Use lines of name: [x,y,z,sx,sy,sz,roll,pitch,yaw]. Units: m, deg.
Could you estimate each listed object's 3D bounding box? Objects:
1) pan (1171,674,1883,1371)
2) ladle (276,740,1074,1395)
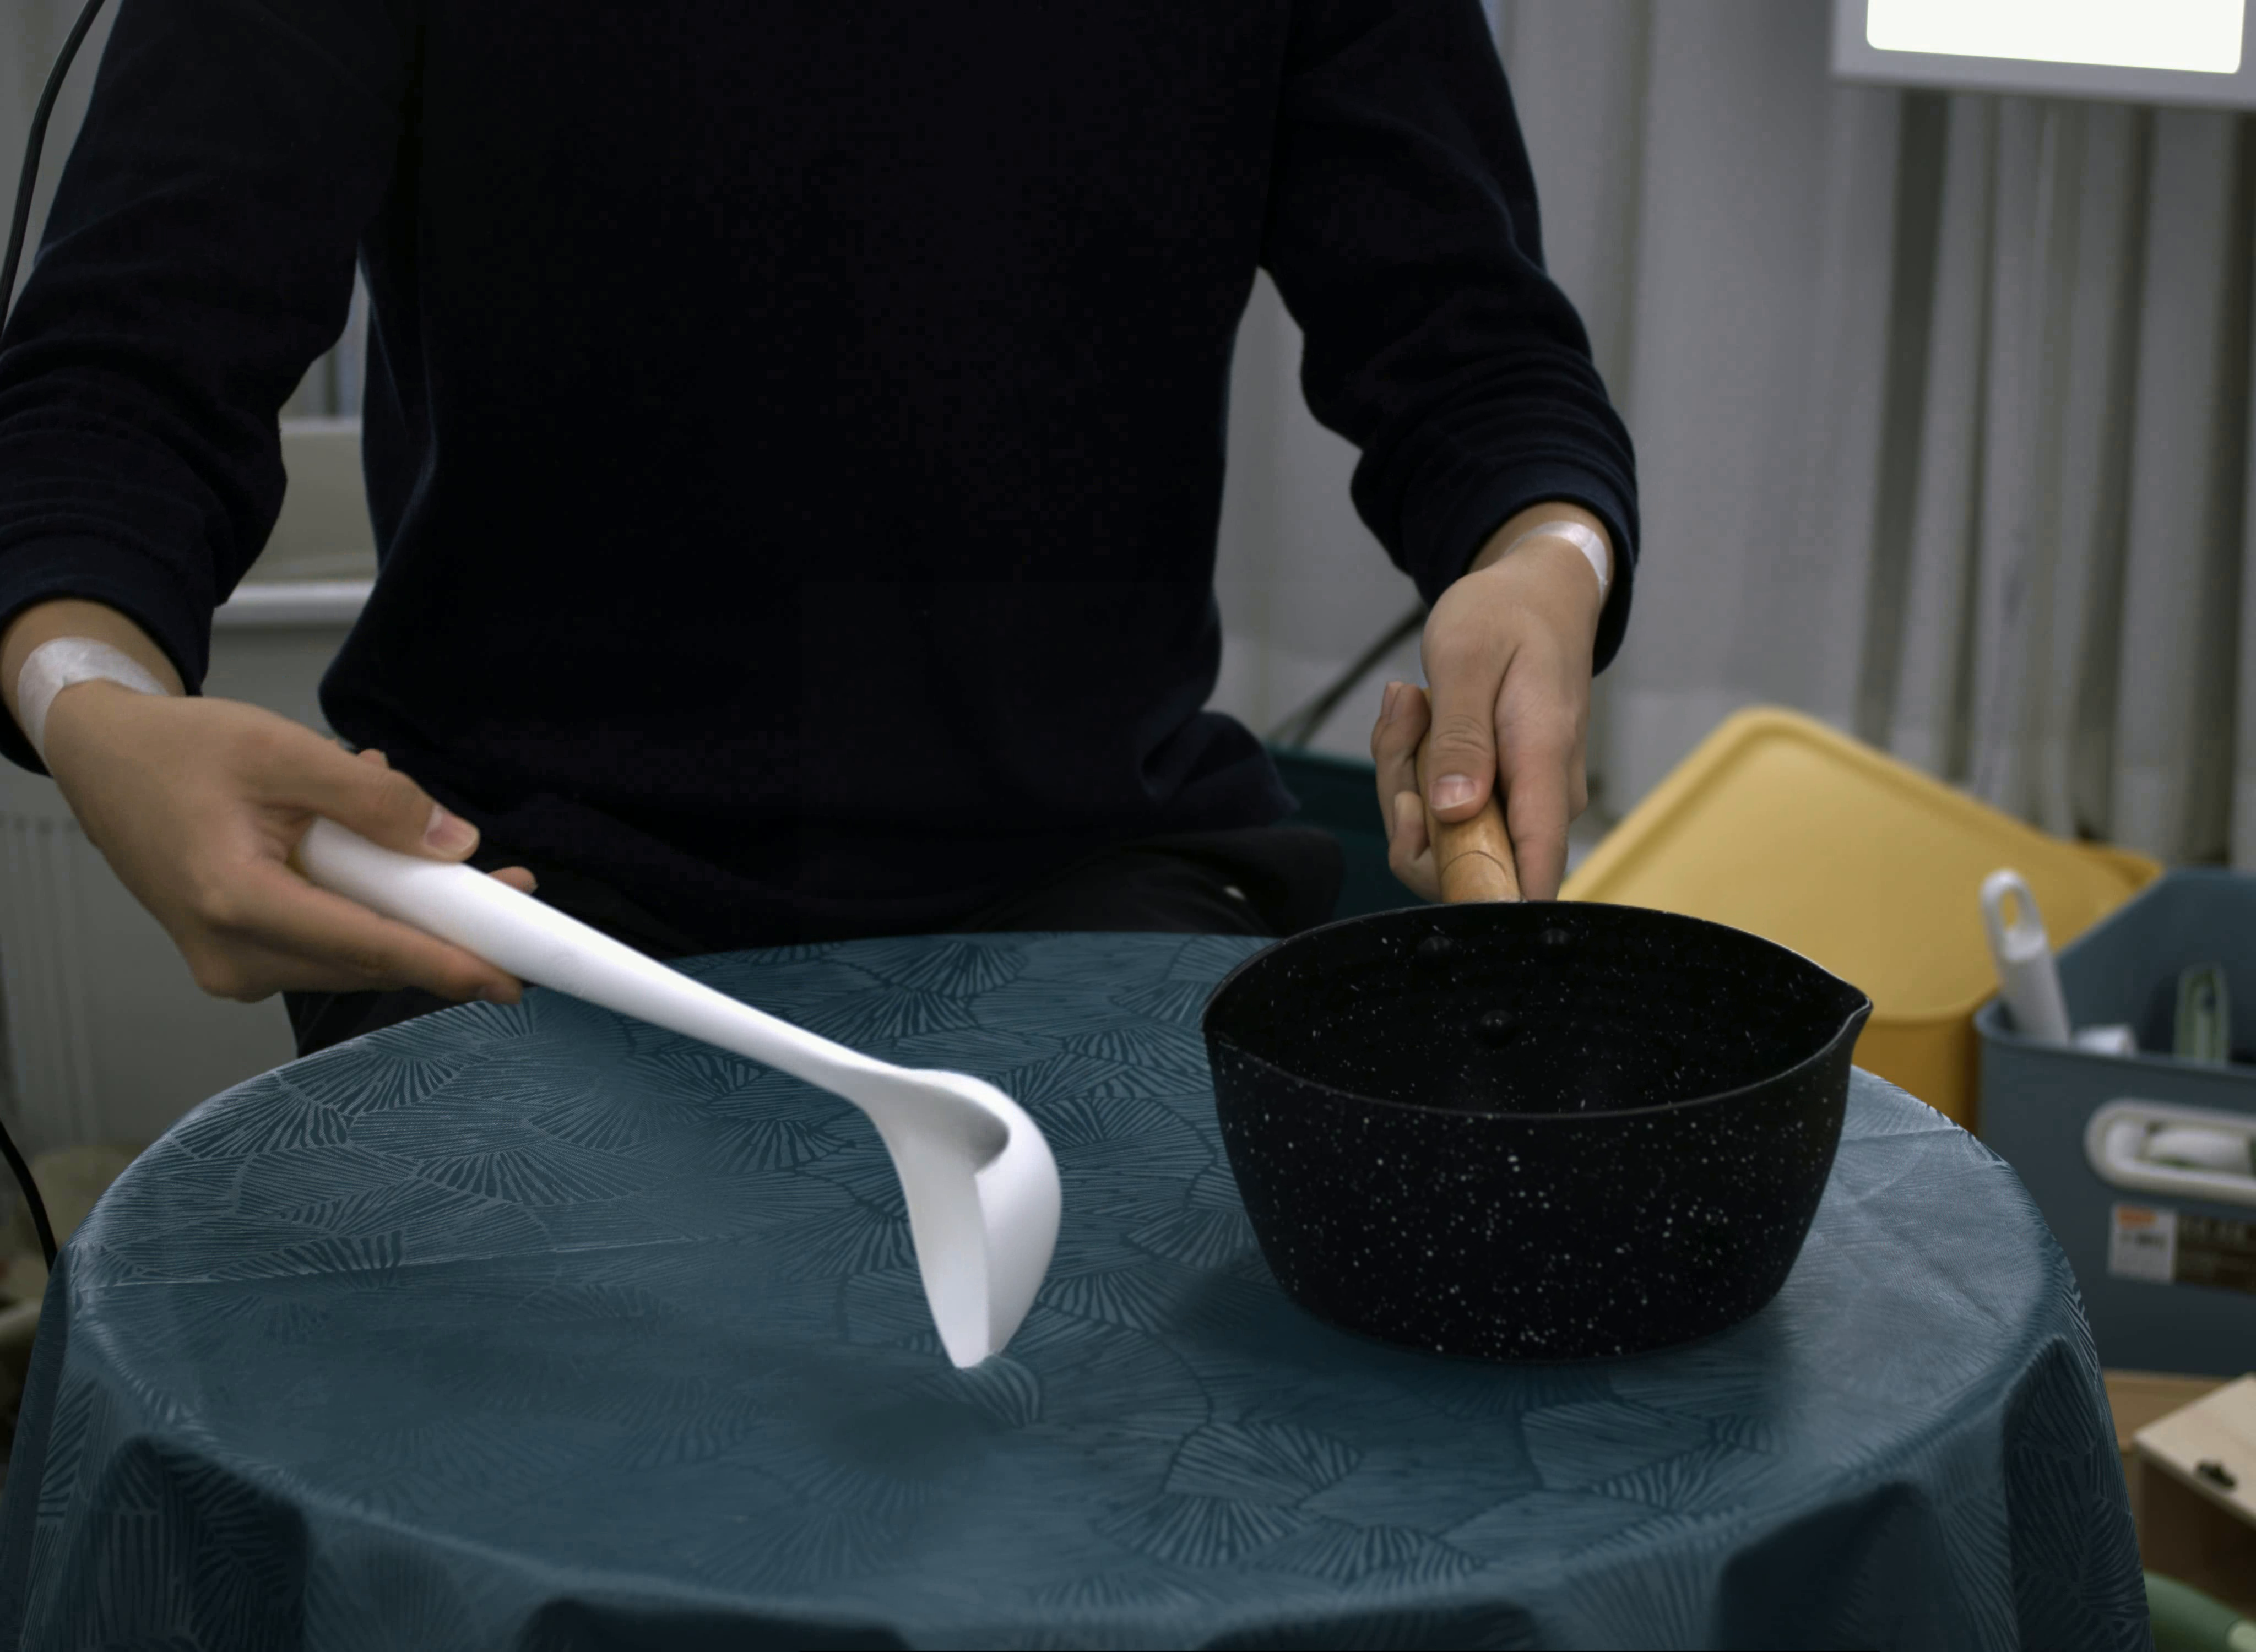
pan: [0.112,0.055,1.609,0.207,0.109,0.340,-3,20,-3]
ladle: [-0.133,0.060,1.475,0.290,0.091,0.070,27,50,22]
